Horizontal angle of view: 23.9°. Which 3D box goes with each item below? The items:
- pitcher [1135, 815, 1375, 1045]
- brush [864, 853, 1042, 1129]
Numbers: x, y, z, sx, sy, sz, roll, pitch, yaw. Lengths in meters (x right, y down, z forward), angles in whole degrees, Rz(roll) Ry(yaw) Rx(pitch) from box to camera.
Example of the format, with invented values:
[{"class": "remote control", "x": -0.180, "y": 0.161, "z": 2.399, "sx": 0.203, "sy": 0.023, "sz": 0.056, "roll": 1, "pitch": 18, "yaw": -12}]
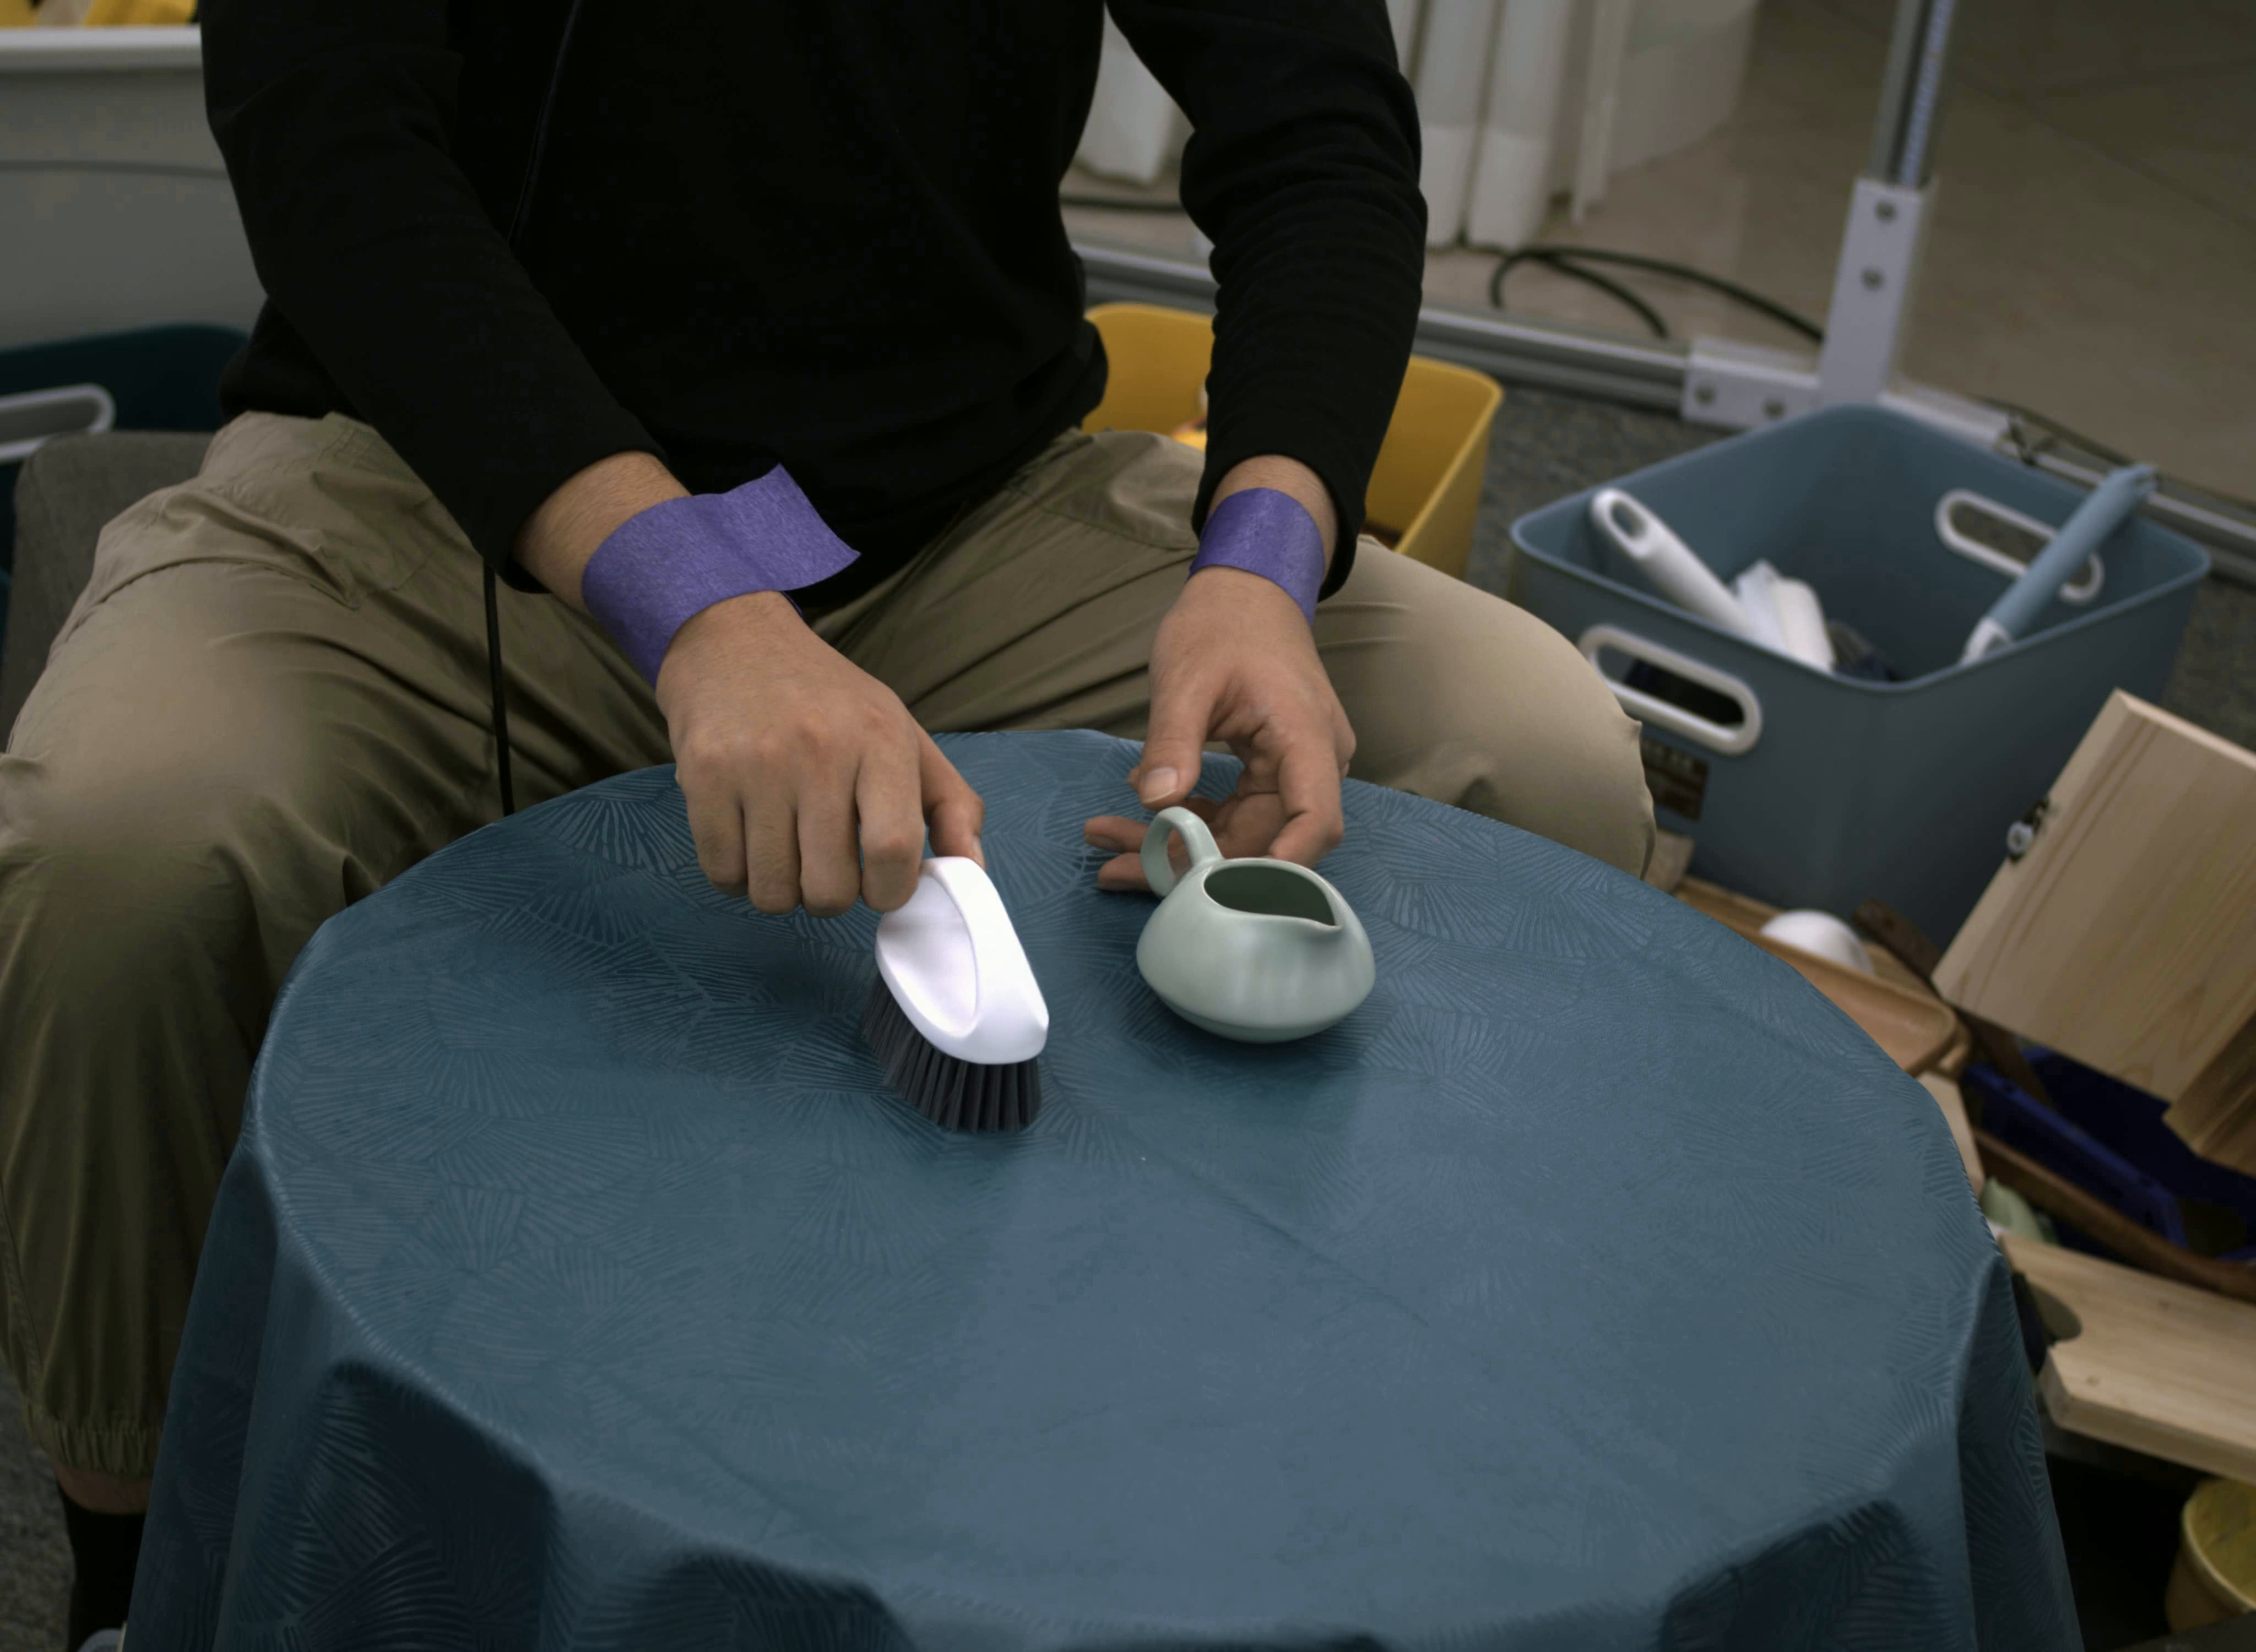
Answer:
[{"class": "pitcher", "x": 0.039, "y": 0.038, "z": 1.917, "sx": 0.085, "sy": 0.060, "sz": 0.109, "roll": -16, "pitch": 32, "yaw": -38}, {"class": "brush", "x": -0.059, "y": 0.050, "z": 1.850, "sx": 0.050, "sy": 0.072, "sz": 0.100, "roll": -1, "pitch": 28, "yaw": -19}]
